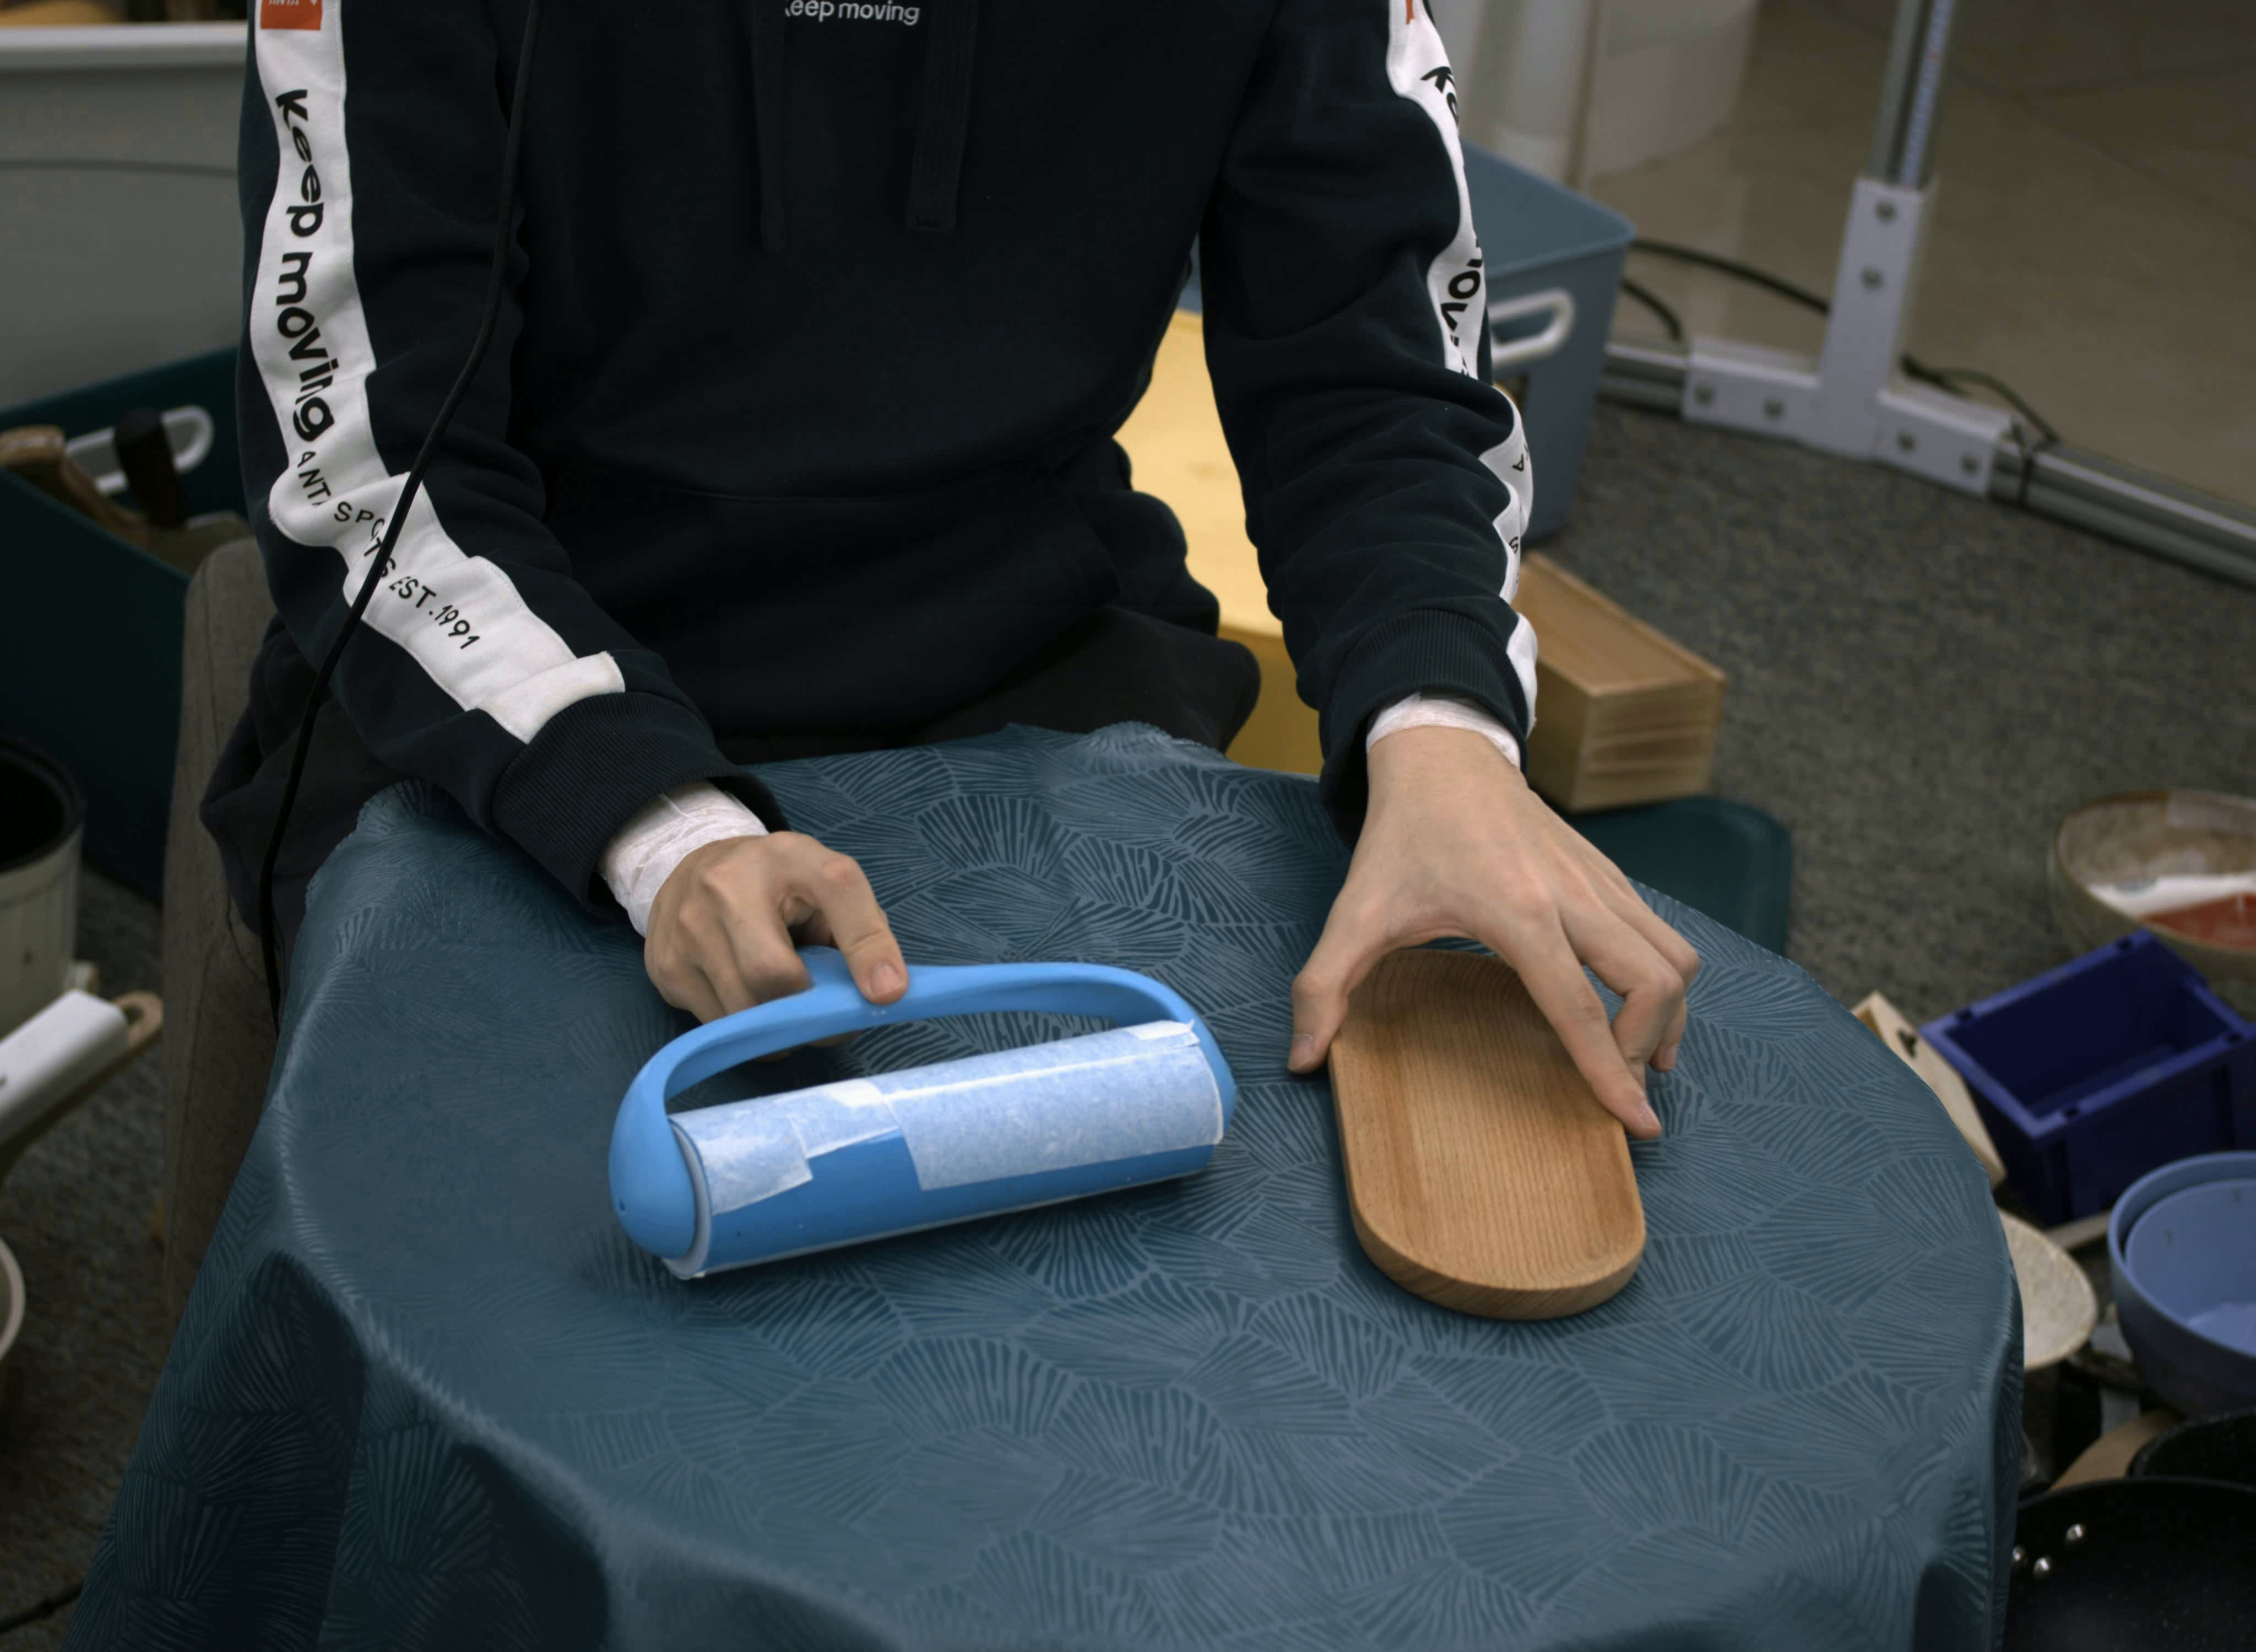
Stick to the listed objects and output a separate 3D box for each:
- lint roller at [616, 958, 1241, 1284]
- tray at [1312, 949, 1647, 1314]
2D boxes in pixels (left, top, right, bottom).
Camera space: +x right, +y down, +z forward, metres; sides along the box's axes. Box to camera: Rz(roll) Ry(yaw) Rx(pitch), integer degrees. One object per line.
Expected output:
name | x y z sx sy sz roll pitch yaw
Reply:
lint roller | -0.094 0.079 1.802 0.227 0.067 0.182 -12 33 -30
tray | 0.120 0.103 1.848 0.101 0.020 0.232 5 25 -6
